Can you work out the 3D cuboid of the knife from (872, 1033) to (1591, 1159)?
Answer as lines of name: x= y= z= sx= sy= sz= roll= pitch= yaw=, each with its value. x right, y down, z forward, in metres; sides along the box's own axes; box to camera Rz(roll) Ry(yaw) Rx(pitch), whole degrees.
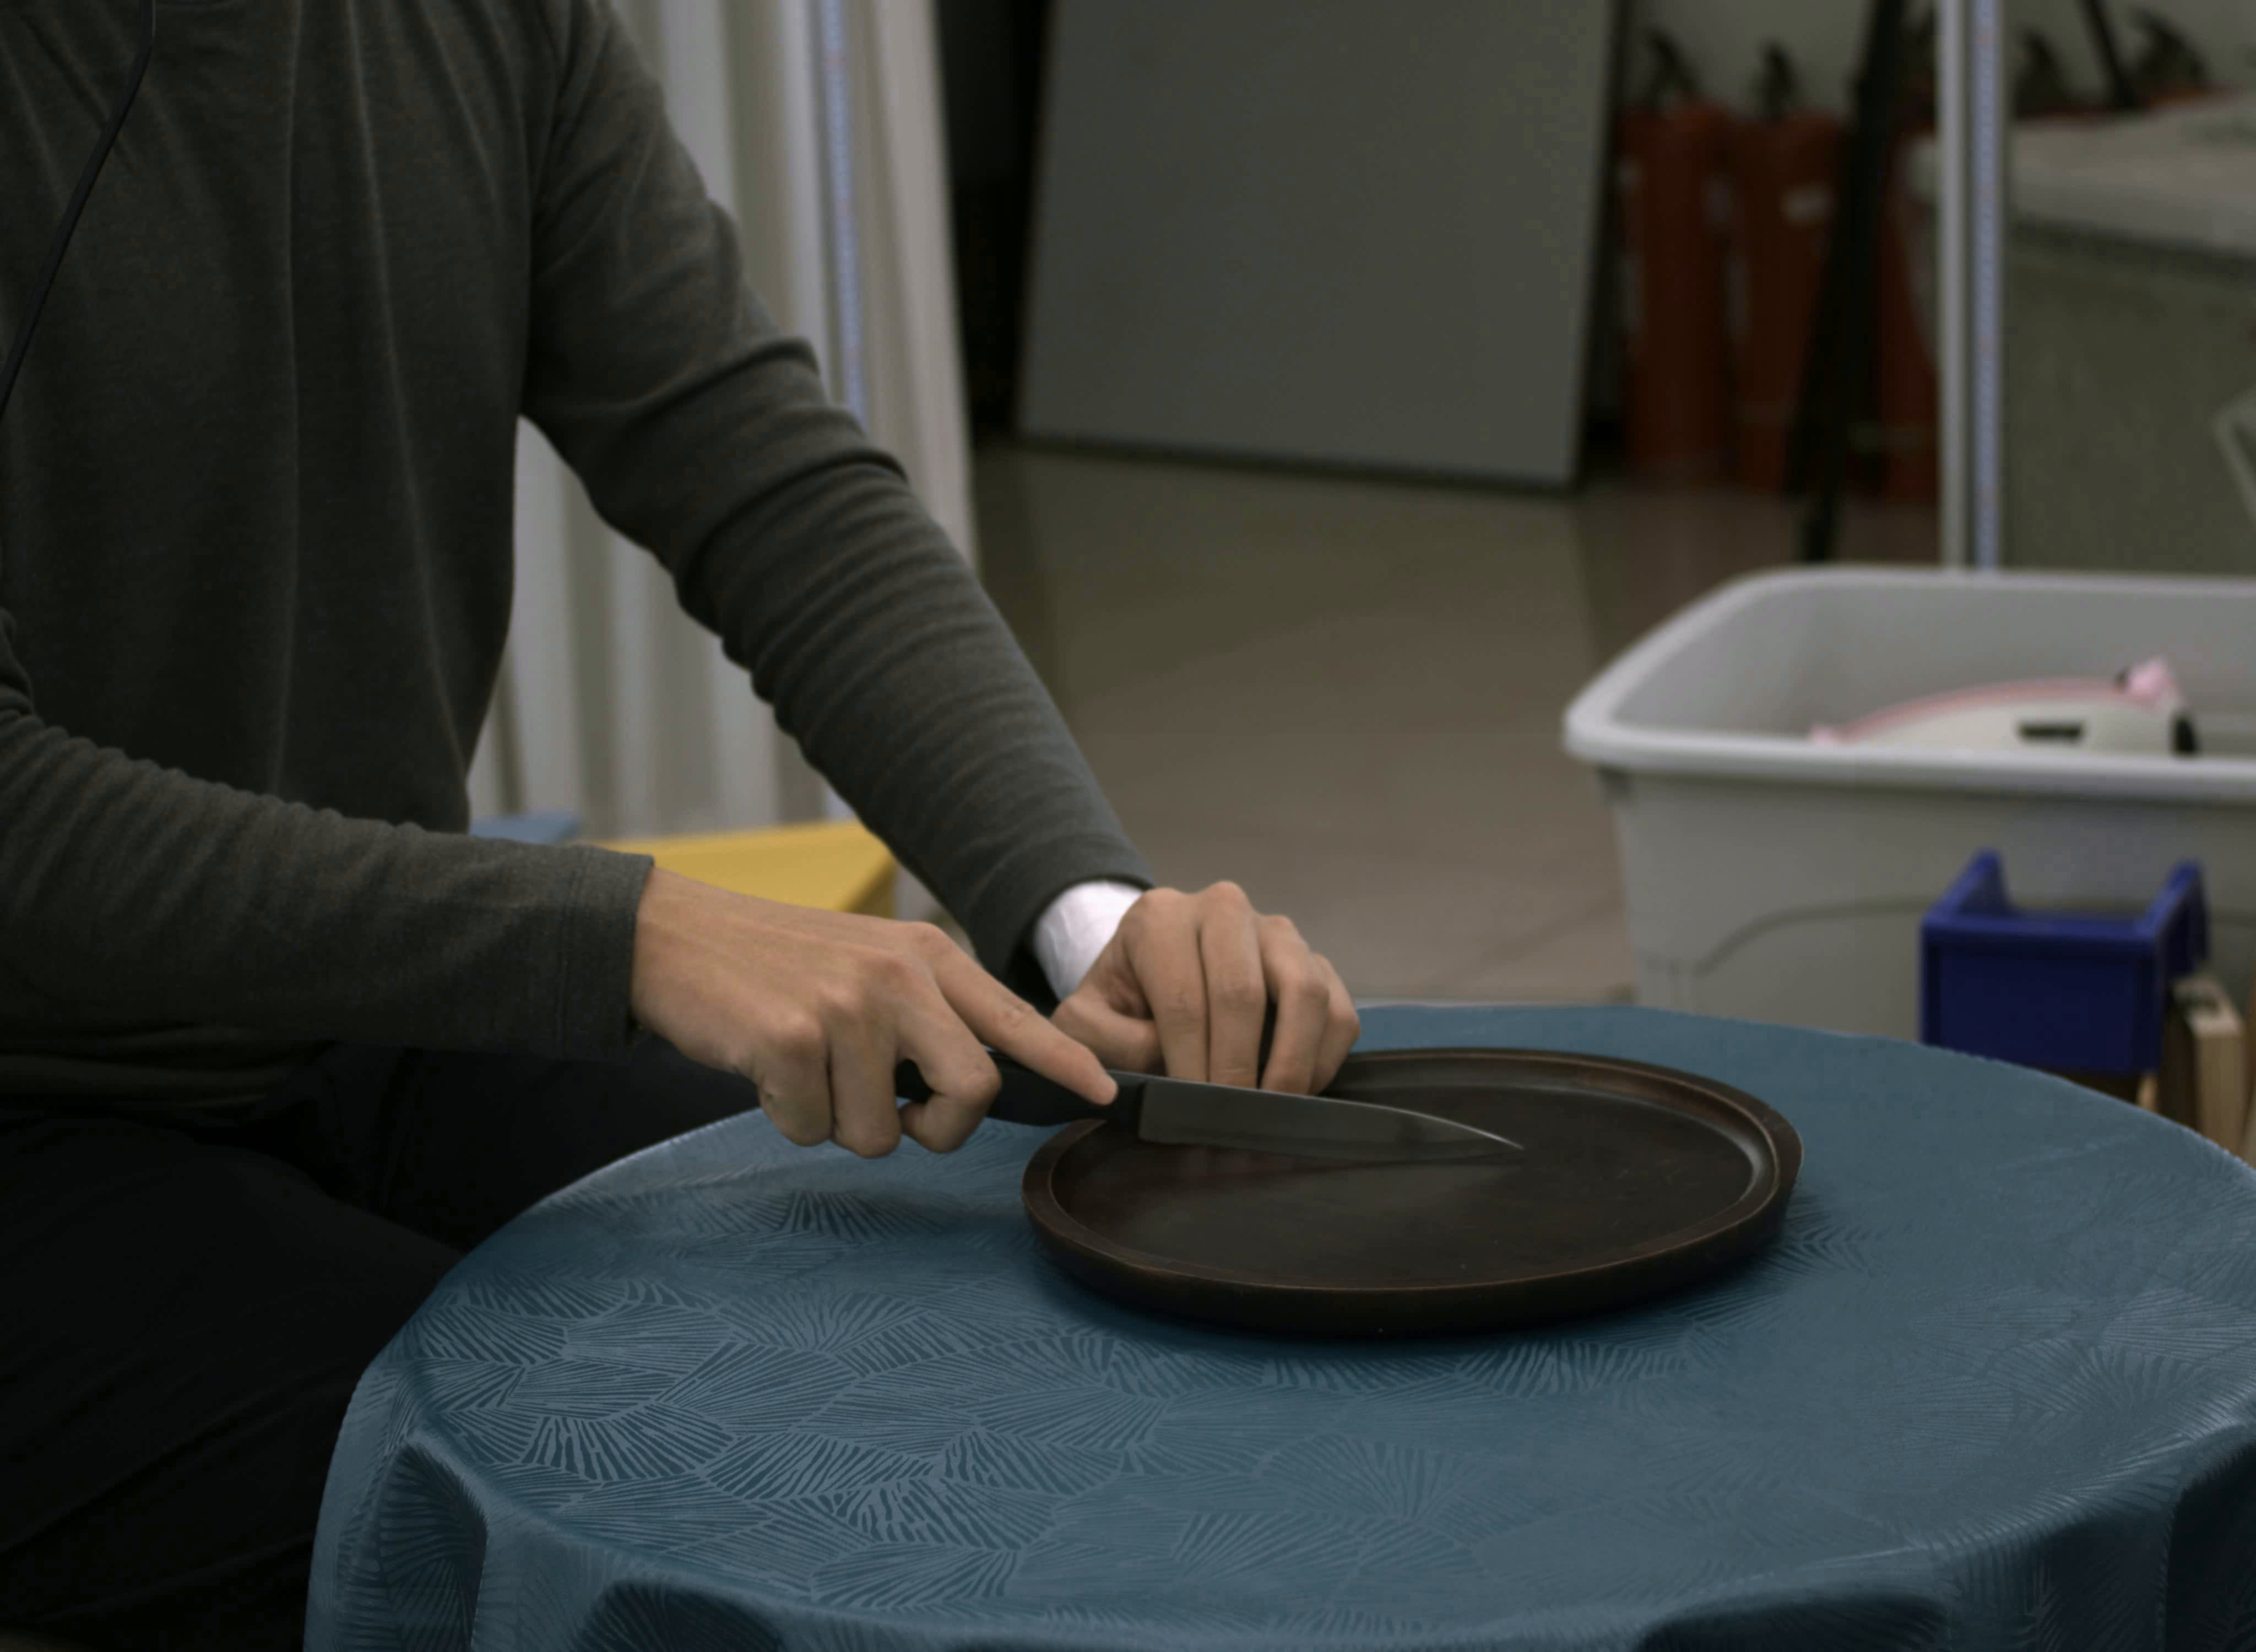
knife: x=0.034 y=0.088 z=1.750 sx=0.236 sy=0.025 sz=0.016 roll=6 pitch=8 yaw=6

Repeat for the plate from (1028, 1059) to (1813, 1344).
plate: x=0.093 y=0.117 z=1.718 sx=0.251 sy=0.029 sz=0.255 roll=-3 pitch=14 yaw=0
